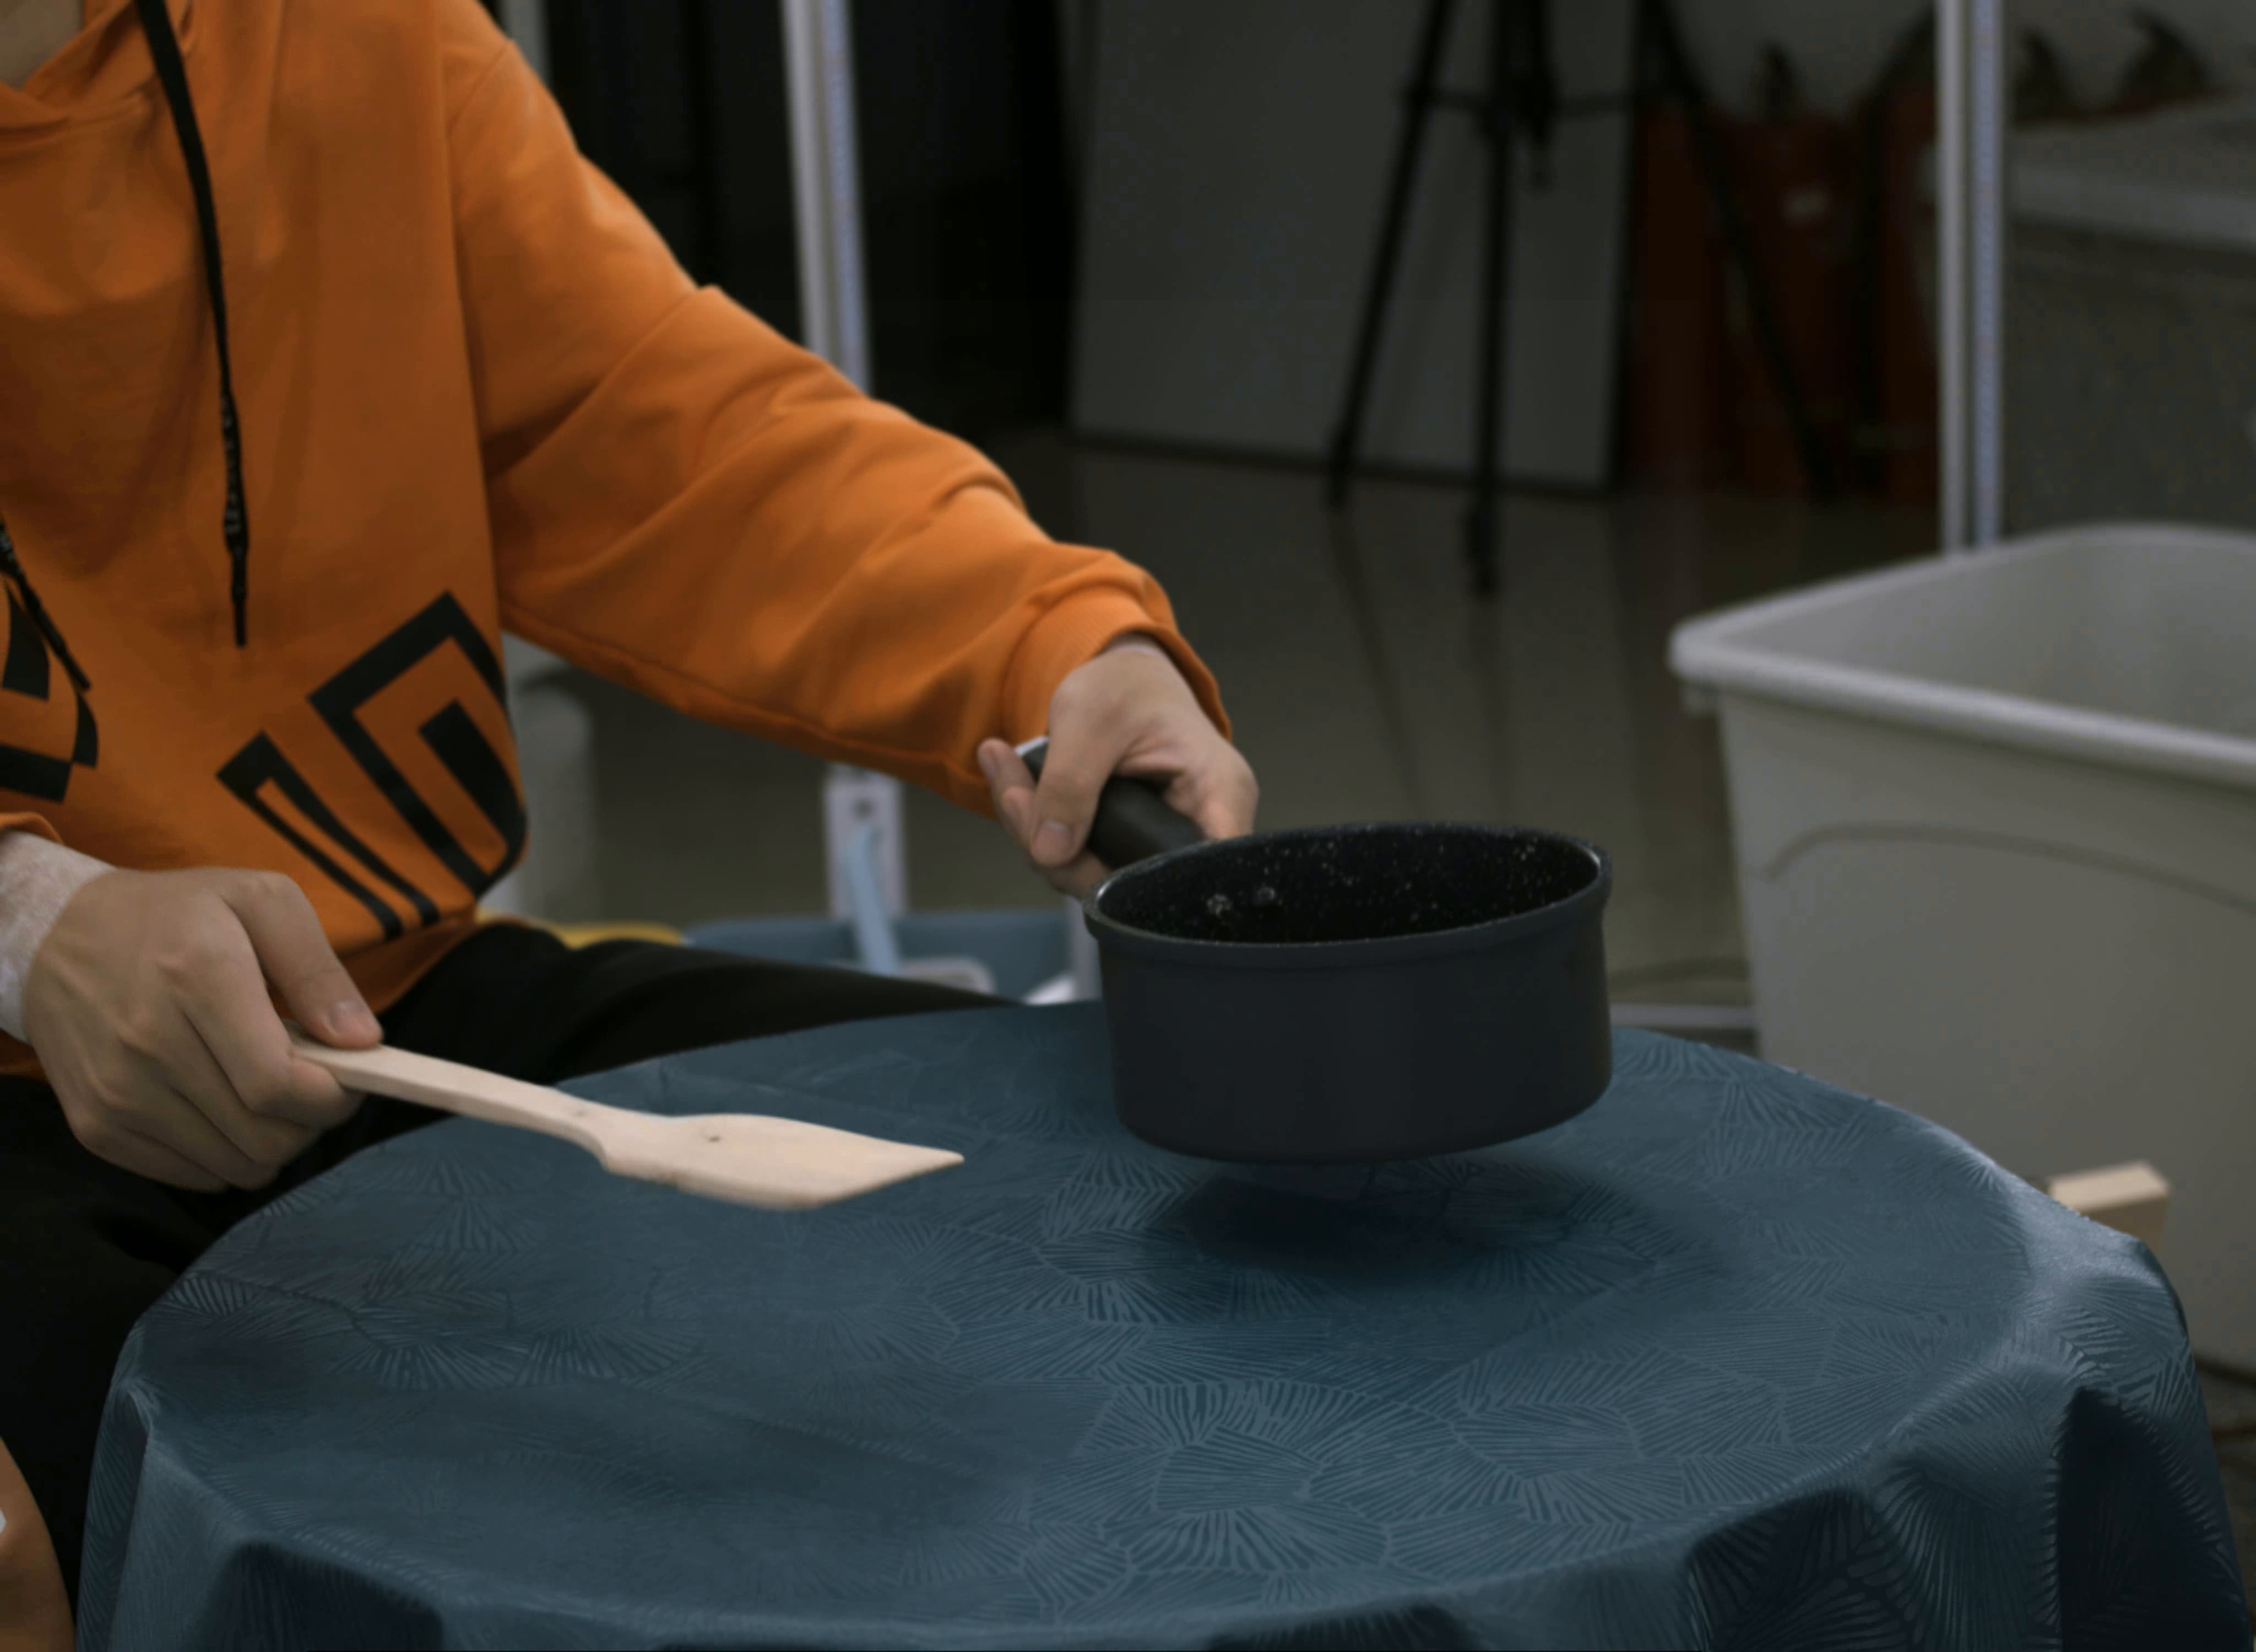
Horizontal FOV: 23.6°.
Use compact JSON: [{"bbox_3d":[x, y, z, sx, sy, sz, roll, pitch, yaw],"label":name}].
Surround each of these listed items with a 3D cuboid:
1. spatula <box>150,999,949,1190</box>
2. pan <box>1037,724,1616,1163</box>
[{"bbox_3d":[-0.186,0.079,1.623,0.295,0.011,0.071,9,13,36],"label":"spatula"},{"bbox_3d":[0.042,0.035,1.796,0.168,0.087,0.332,-9,13,-20],"label":"pan"}]
